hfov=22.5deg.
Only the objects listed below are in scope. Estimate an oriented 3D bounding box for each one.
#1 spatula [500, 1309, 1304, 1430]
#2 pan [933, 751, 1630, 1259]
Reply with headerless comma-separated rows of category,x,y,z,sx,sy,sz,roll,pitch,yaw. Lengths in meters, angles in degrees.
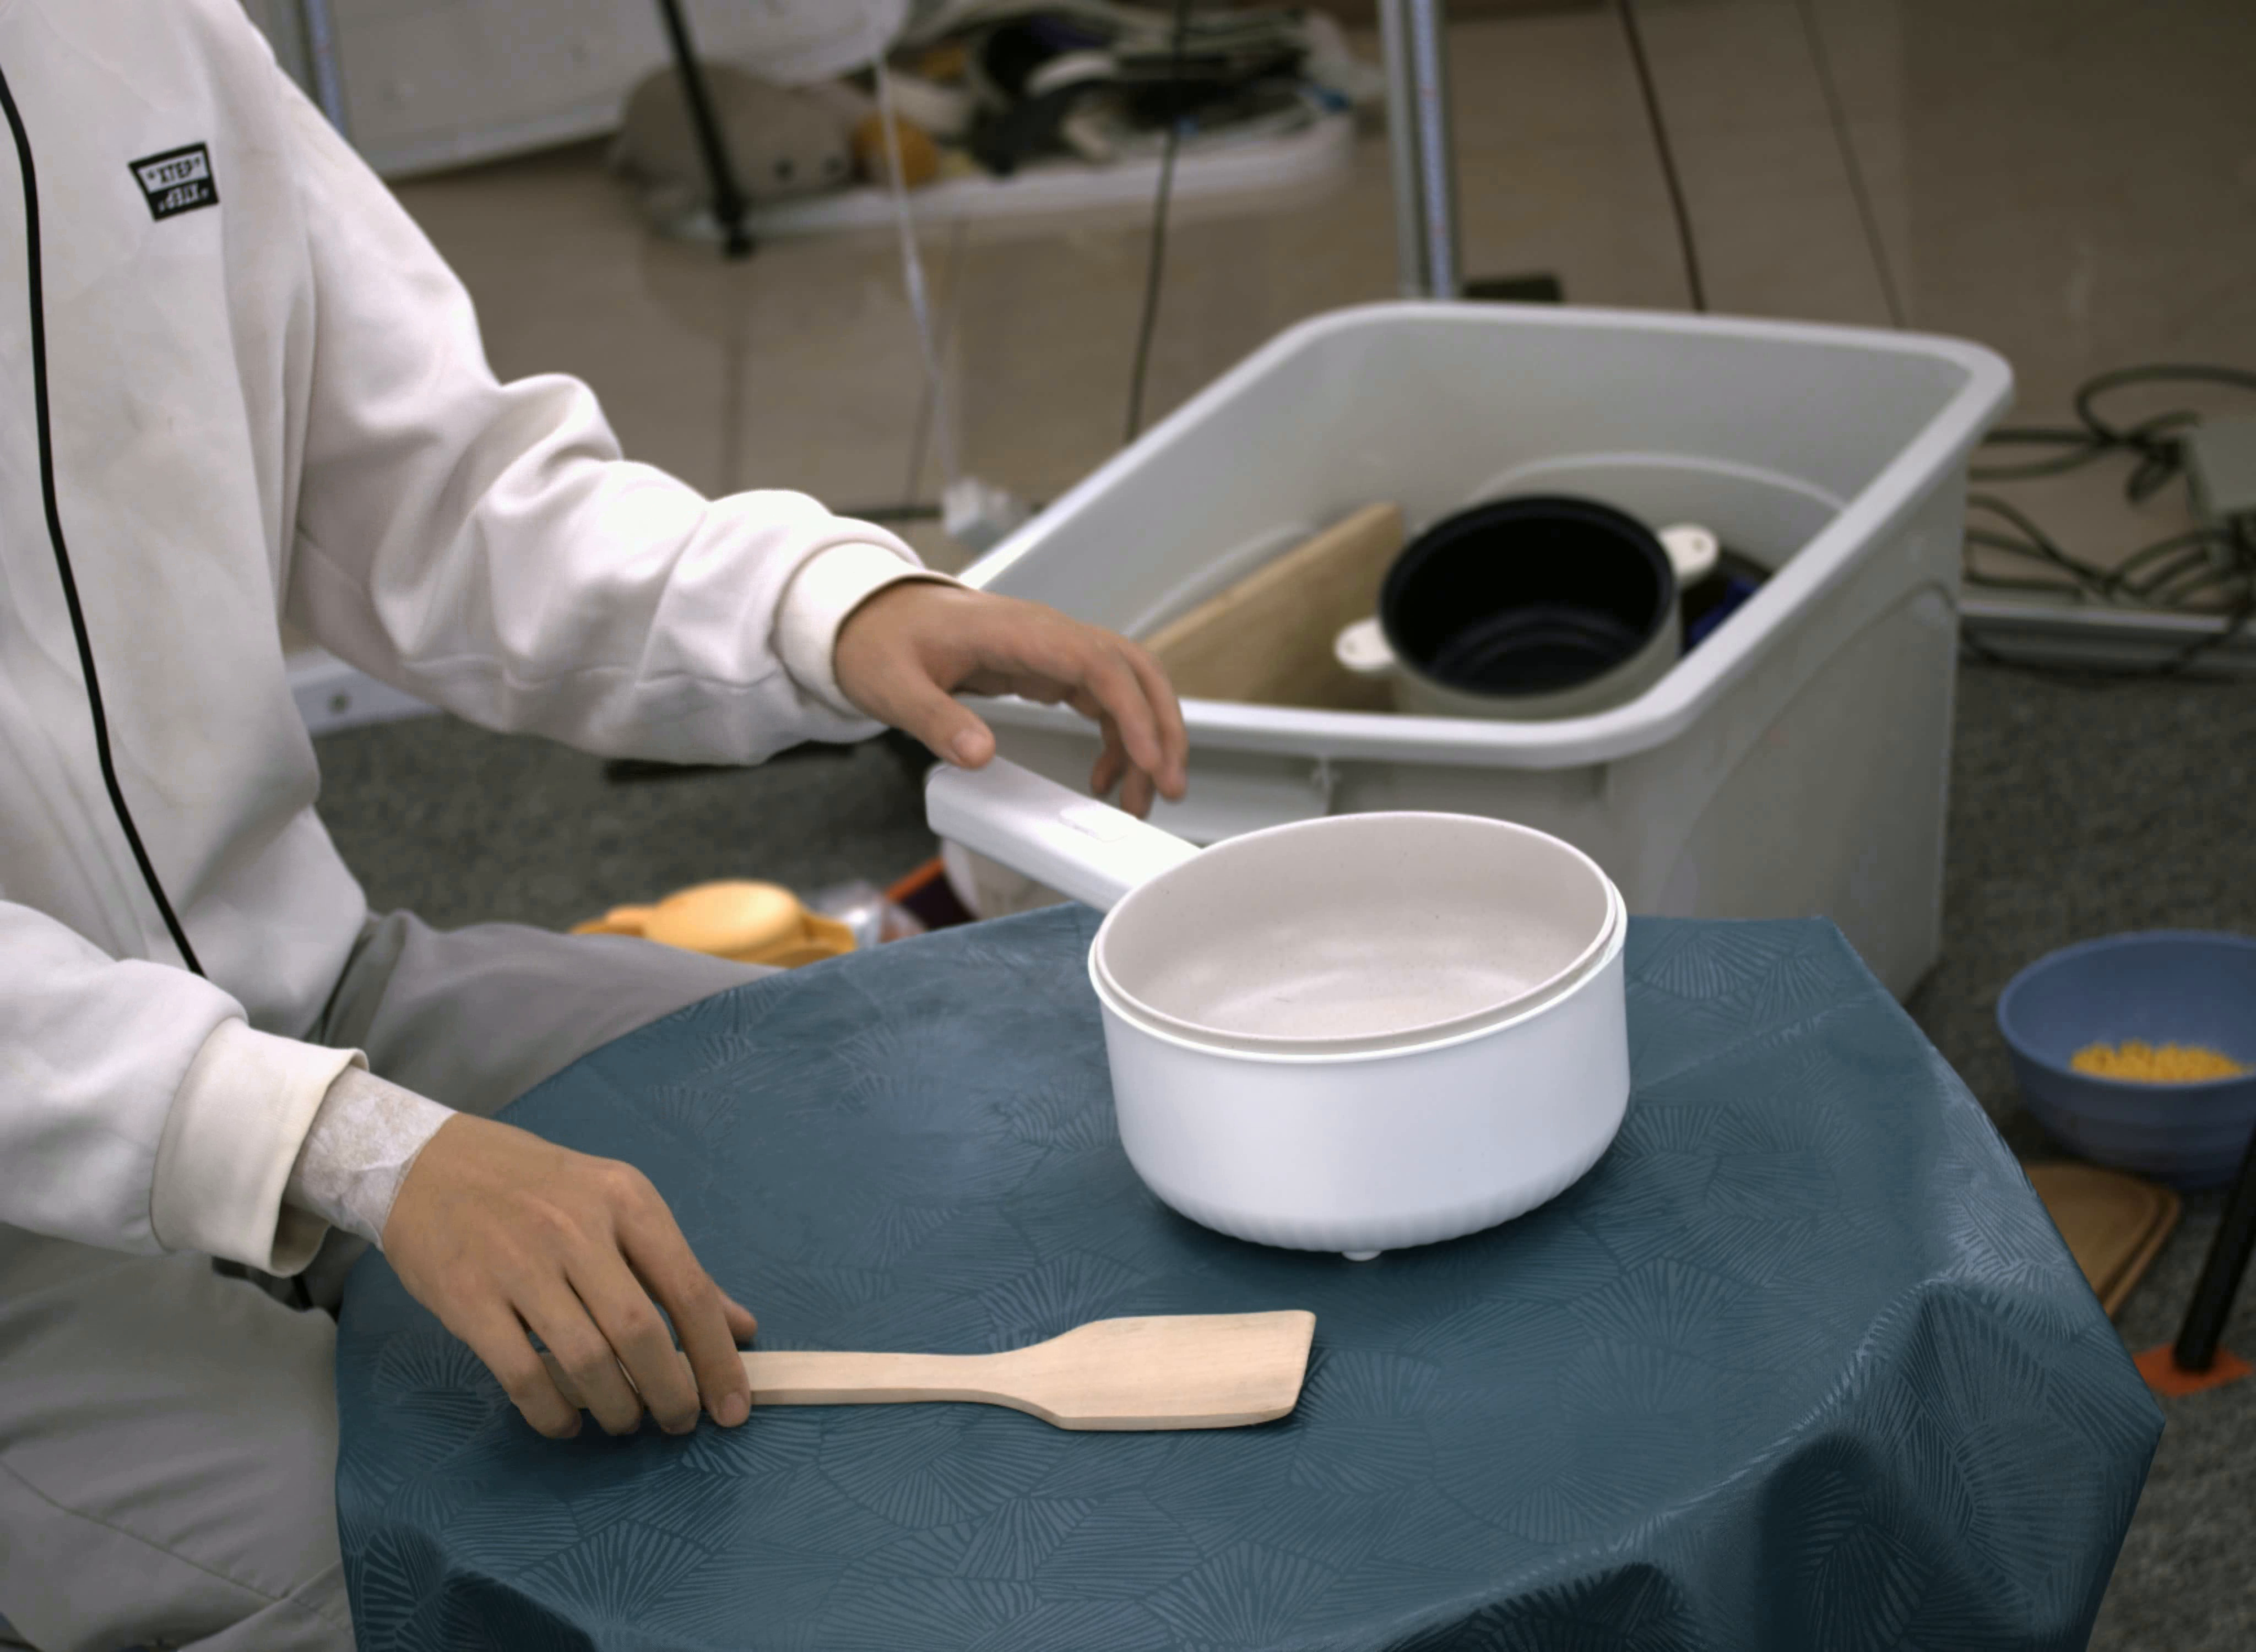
spatula,-0.084,0.197,2.032,0.292,0.011,0.071,-2,27,10
pan,0.044,0.061,2.186,0.200,0.103,0.351,-24,29,-31
